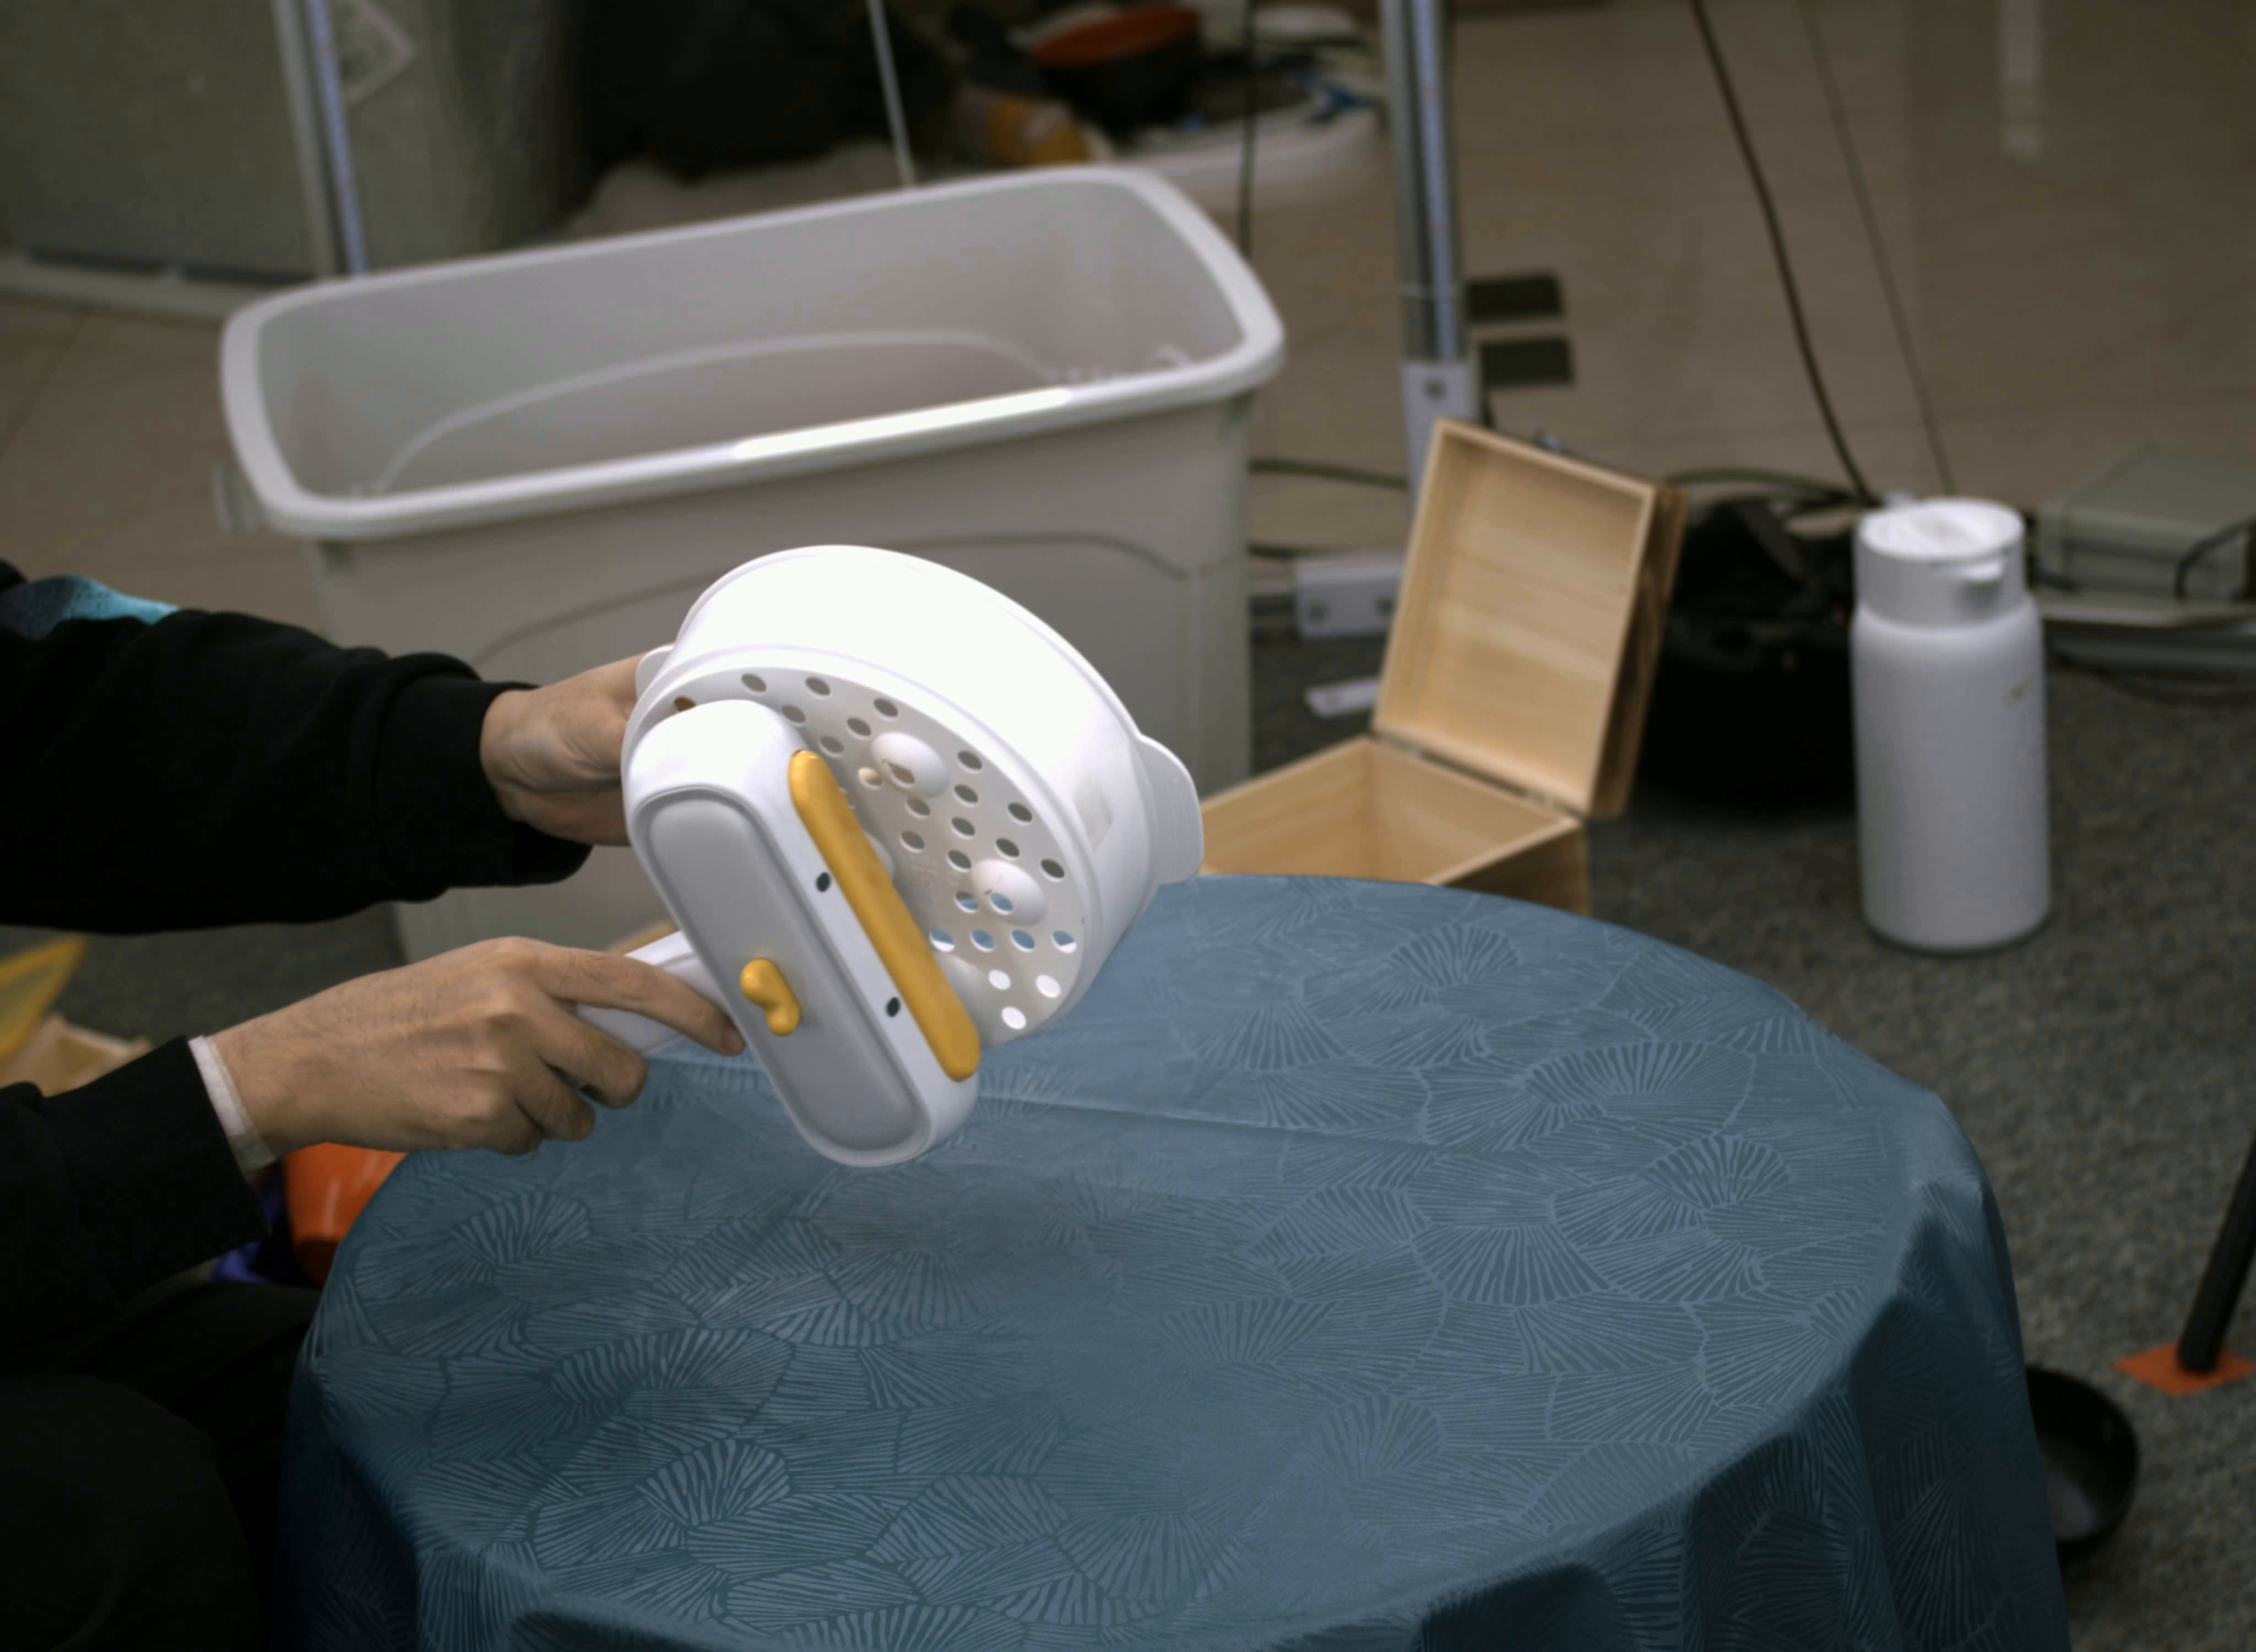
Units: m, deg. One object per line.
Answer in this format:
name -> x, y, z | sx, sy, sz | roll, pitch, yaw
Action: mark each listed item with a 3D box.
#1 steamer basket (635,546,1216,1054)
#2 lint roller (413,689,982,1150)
steamer basket -> -0.085, -0.005, 2.061 | 0.229, 0.206, 0.068 | 11, 46, 21
lint roller -> -0.170, 0.058, 2.037 | 0.193, 0.196, 0.073 | -20, 35, 22
